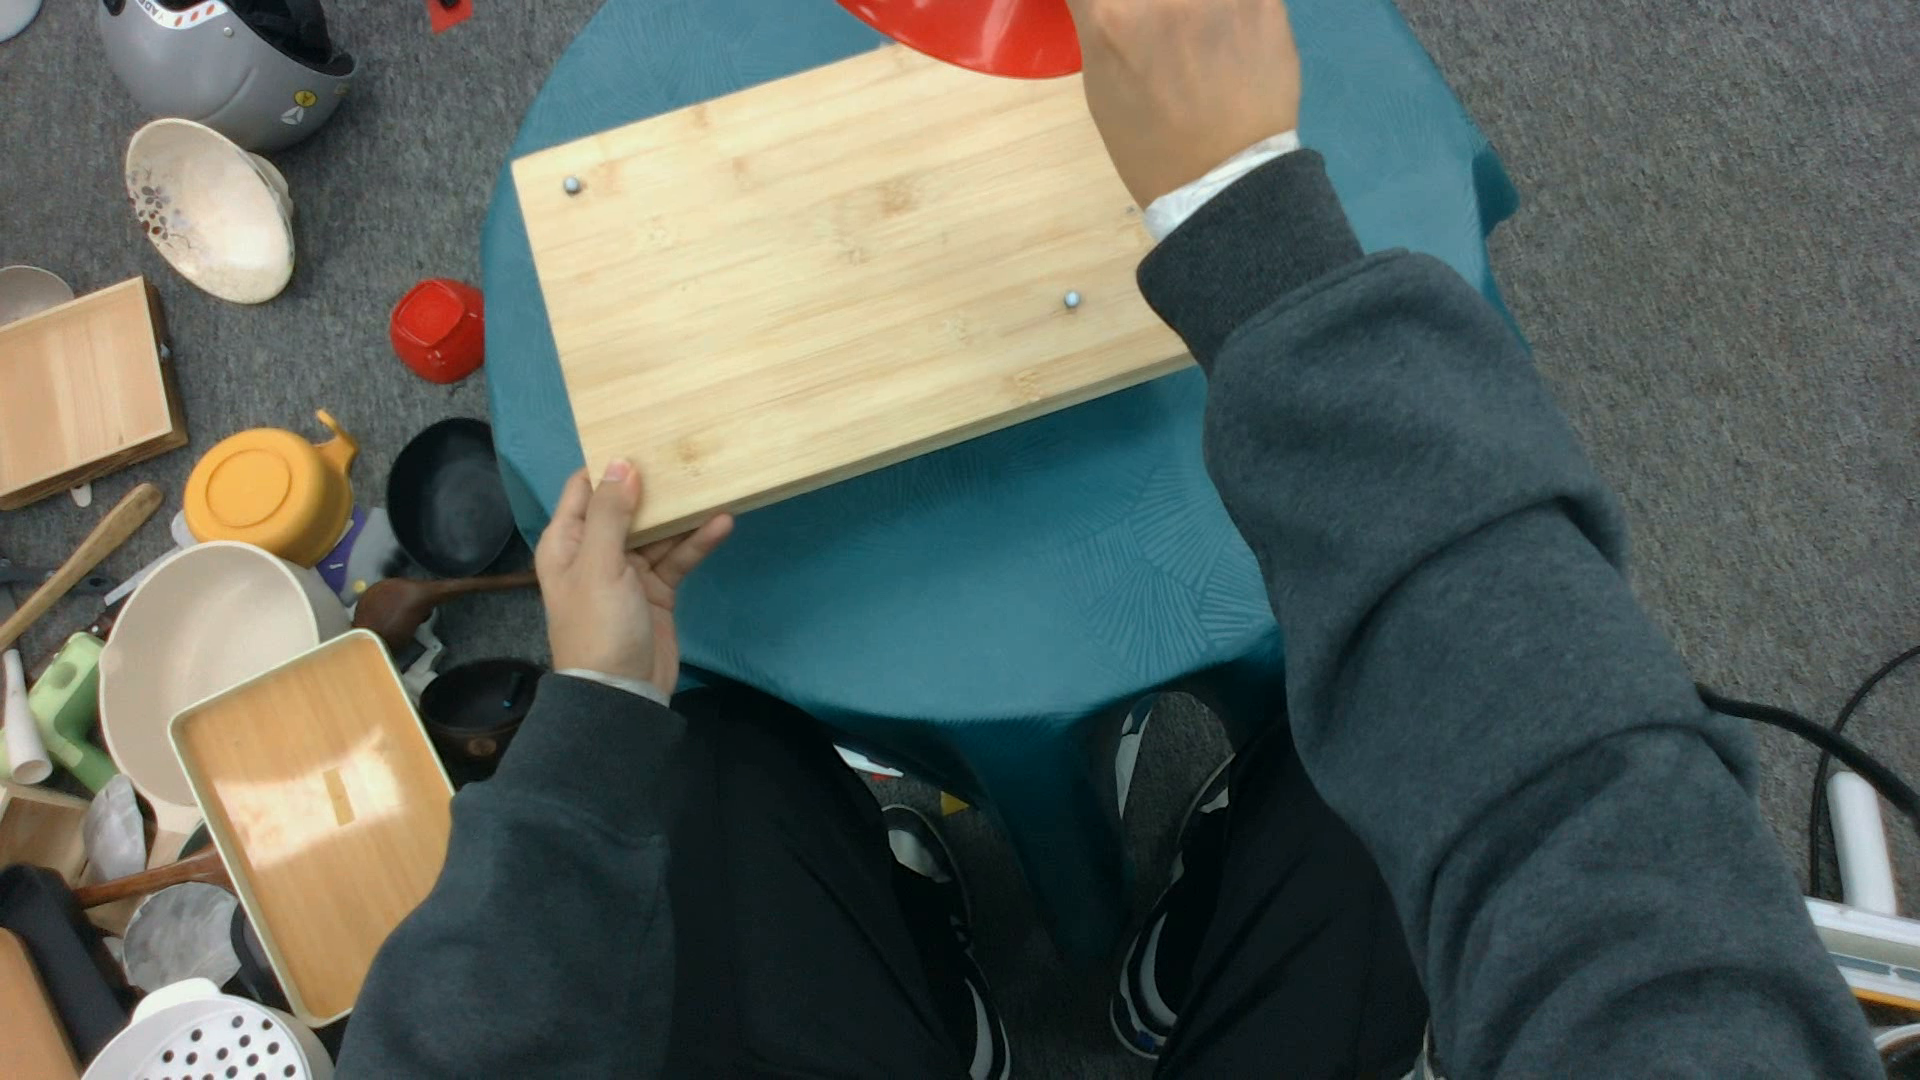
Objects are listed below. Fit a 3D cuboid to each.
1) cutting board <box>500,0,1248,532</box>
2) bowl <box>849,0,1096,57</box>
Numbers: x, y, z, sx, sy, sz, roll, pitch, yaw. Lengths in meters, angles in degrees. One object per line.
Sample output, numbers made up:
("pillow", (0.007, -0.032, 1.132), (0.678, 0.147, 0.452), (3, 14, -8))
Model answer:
("cutting board", (-0.056, -0.165, 0.733), (0.349, 0.023, 0.251), (-19, 69, -5))
("bowl", (0.002, -0.271, 0.547), (0.148, 0.148, 0.104), (27, 90, 12))
